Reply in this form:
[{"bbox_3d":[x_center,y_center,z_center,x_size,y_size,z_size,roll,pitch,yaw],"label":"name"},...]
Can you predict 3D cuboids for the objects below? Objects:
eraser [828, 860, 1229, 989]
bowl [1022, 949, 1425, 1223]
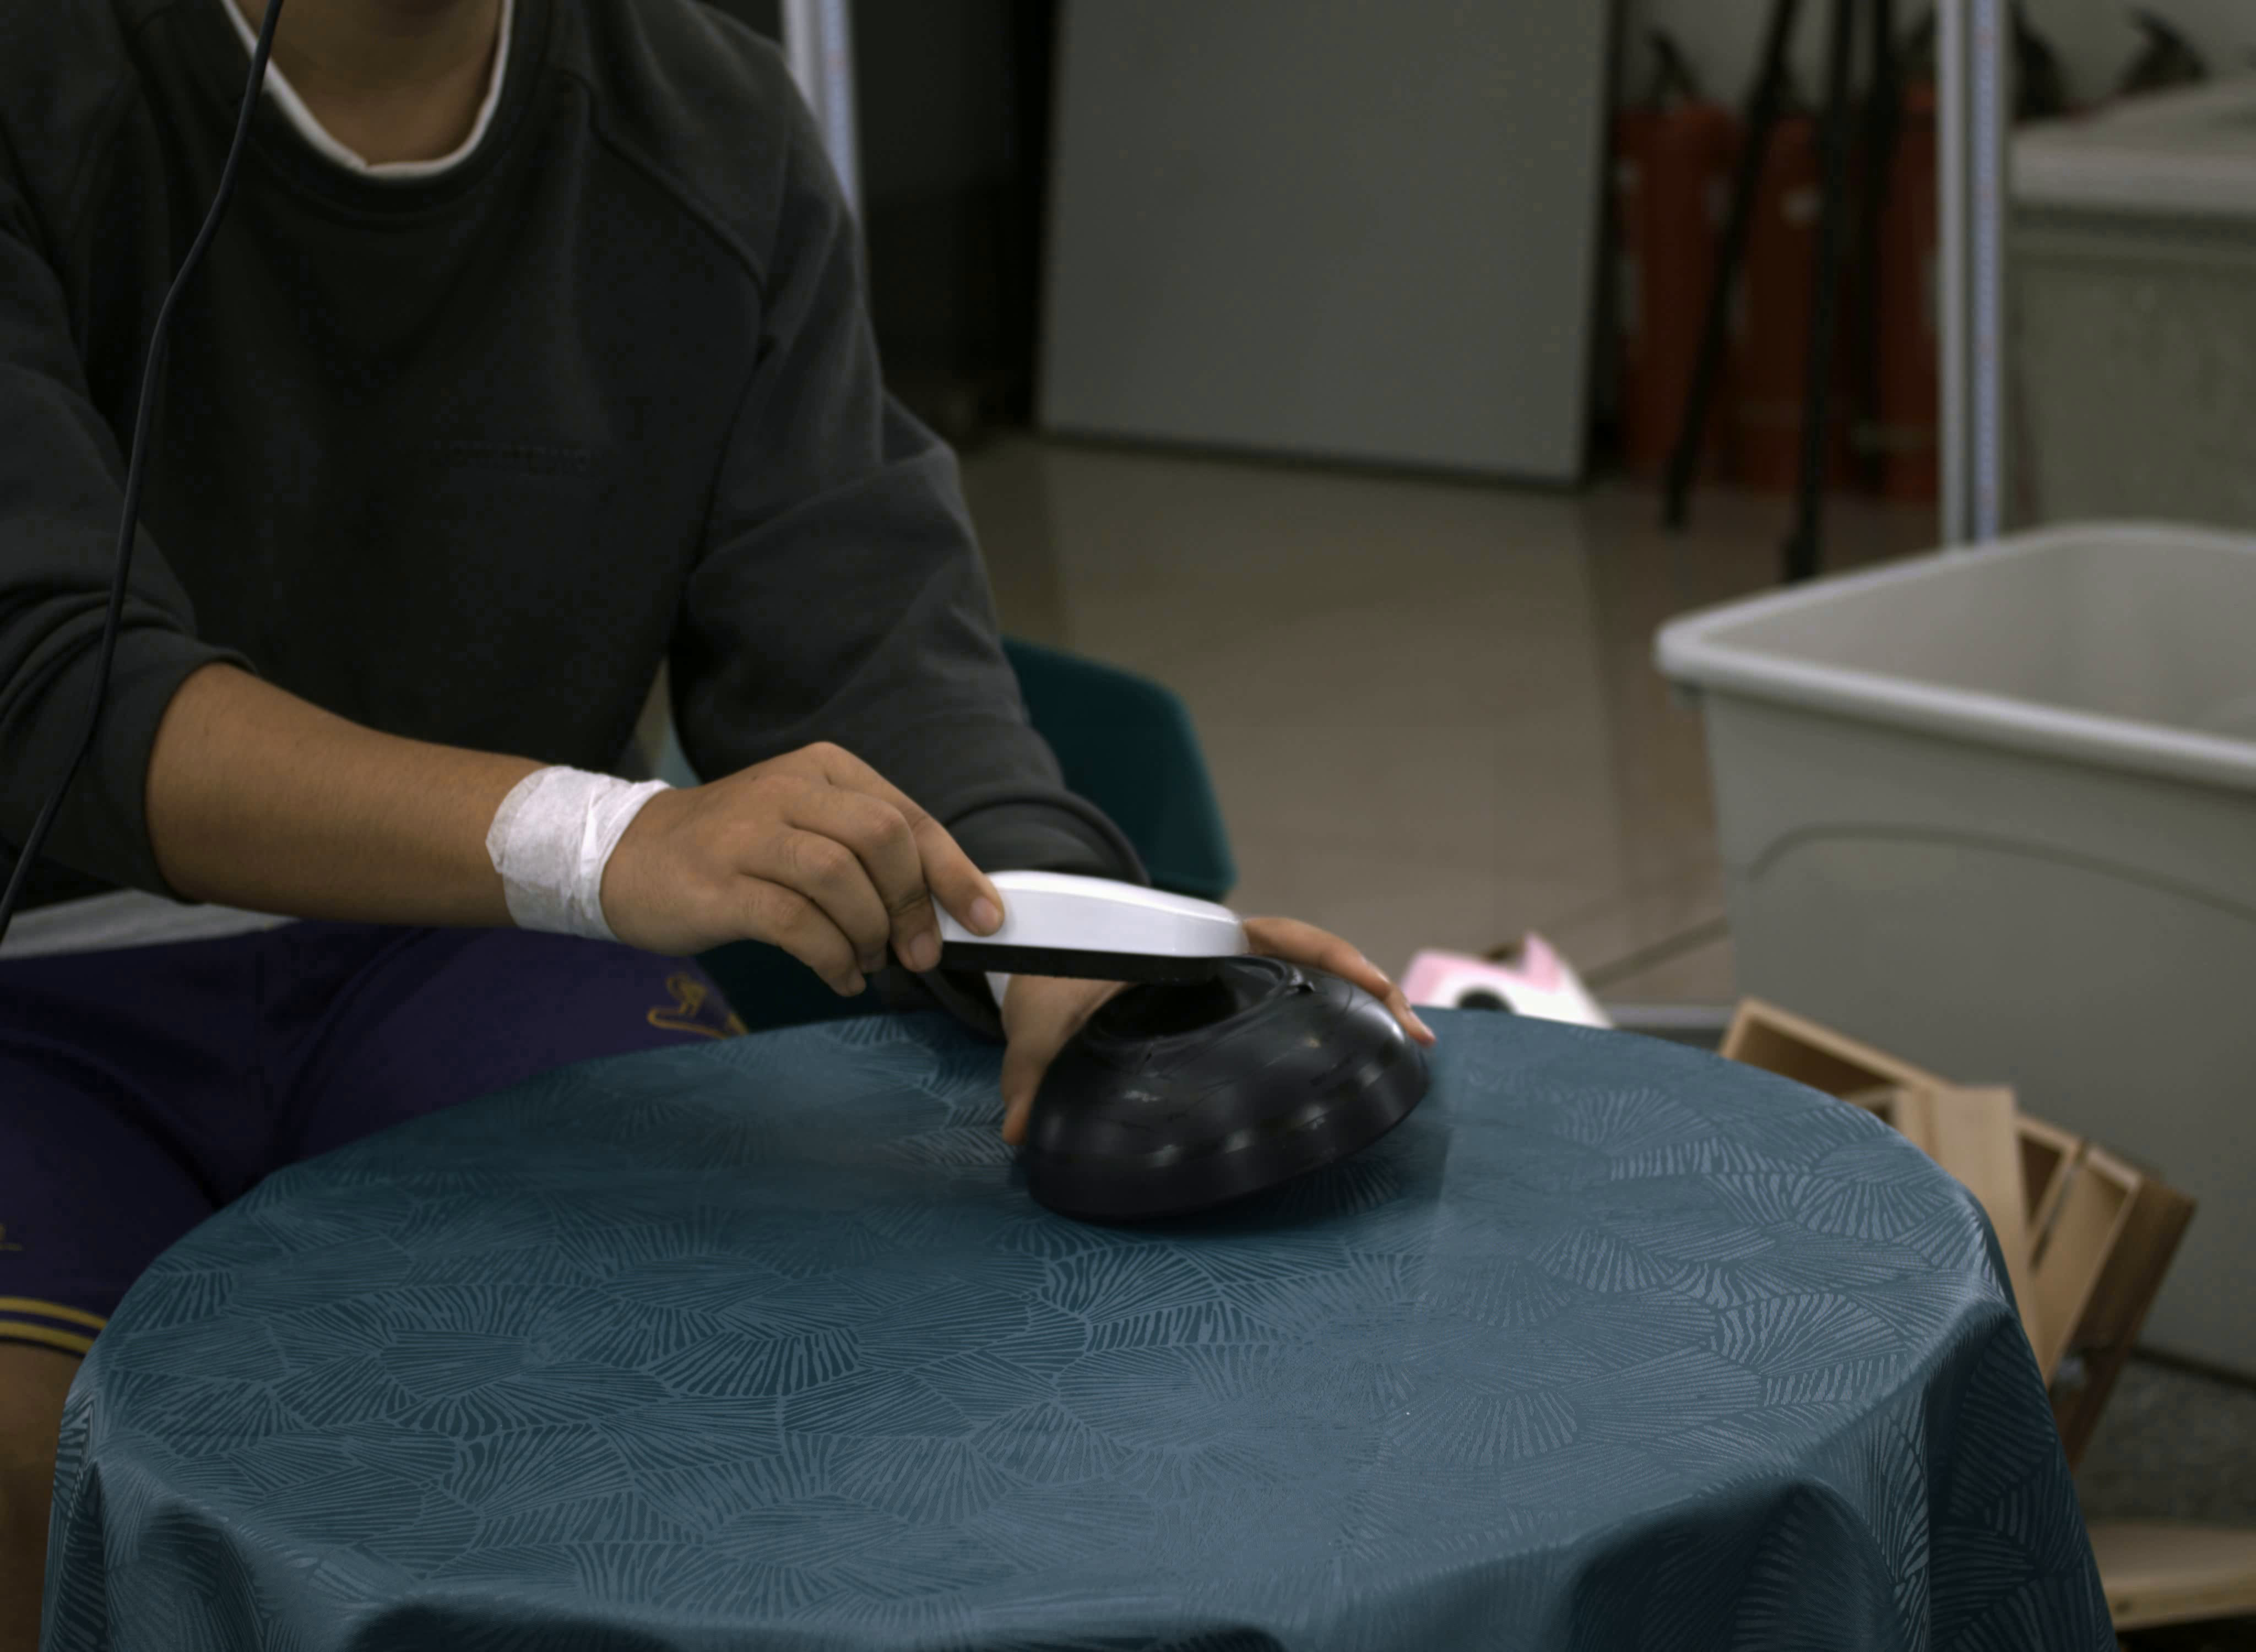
[{"bbox_3d":[-0.033,0.031,1.780,0.130,0.035,0.063,6,2,11],"label":"eraser"},{"bbox_3d":[0.026,0.078,1.771,0.139,0.050,0.140,-17,17,4],"label":"bowl"}]
